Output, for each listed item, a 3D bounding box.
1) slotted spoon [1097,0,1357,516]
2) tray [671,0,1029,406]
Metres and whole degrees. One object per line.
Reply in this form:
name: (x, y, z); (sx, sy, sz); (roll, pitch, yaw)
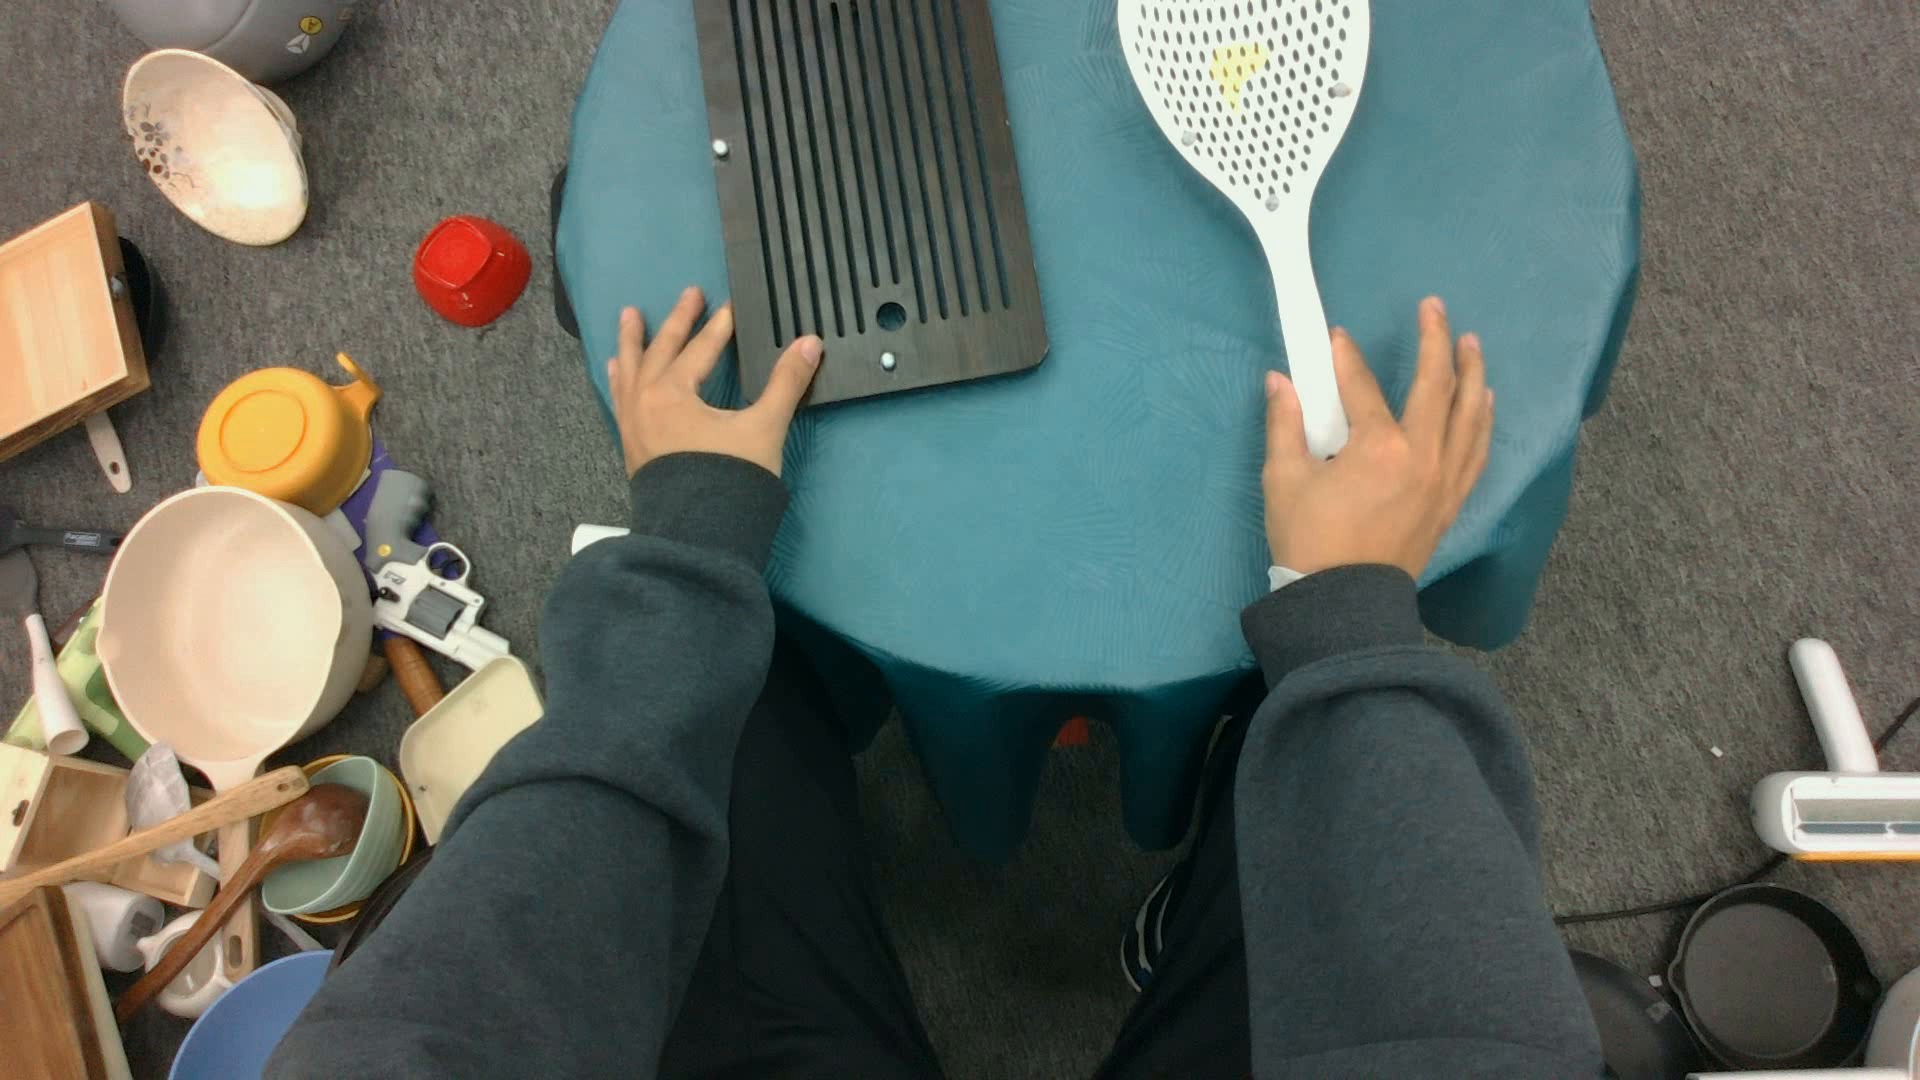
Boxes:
slotted spoon: (0.164, -0.183, 0.747); (0.137, 0.050, 0.348); (-10, 75, 0)
tray: (-0.069, -0.230, 0.785); (0.170, 0.018, 0.306); (-10, 75, 1)
